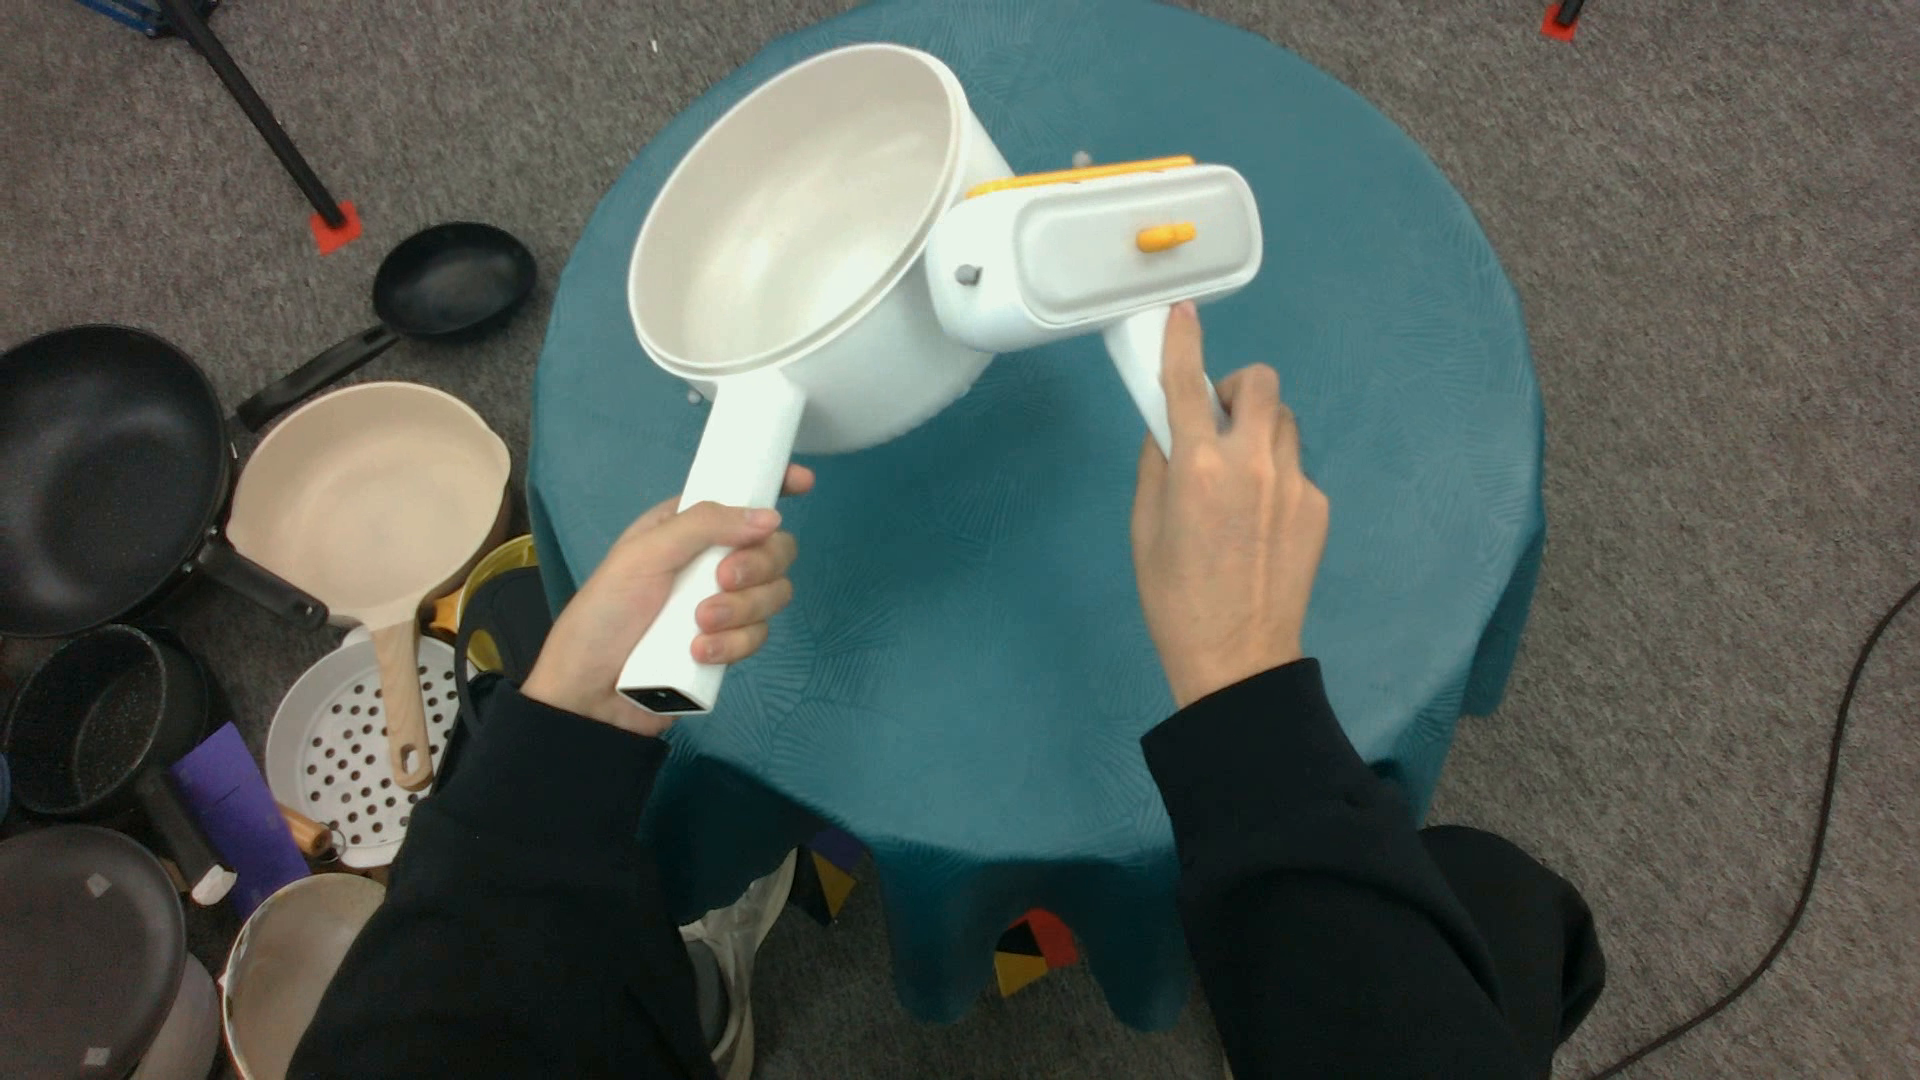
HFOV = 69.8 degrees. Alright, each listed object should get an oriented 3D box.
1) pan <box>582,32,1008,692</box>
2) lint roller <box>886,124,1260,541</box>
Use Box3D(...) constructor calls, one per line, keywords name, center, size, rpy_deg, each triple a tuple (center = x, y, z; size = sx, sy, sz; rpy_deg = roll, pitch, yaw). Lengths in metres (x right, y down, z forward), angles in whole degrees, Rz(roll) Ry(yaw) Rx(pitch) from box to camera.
Box3D(name="pan", center=(-0.081, -0.082, 0.666), size=(0.200, 0.102, 0.356), rpy_deg=(-6, 57, 32))
Box3D(name="lint roller", center=(0.073, -0.086, 0.614), size=(0.194, 0.074, 0.192), rpy_deg=(-28, 98, -45))
